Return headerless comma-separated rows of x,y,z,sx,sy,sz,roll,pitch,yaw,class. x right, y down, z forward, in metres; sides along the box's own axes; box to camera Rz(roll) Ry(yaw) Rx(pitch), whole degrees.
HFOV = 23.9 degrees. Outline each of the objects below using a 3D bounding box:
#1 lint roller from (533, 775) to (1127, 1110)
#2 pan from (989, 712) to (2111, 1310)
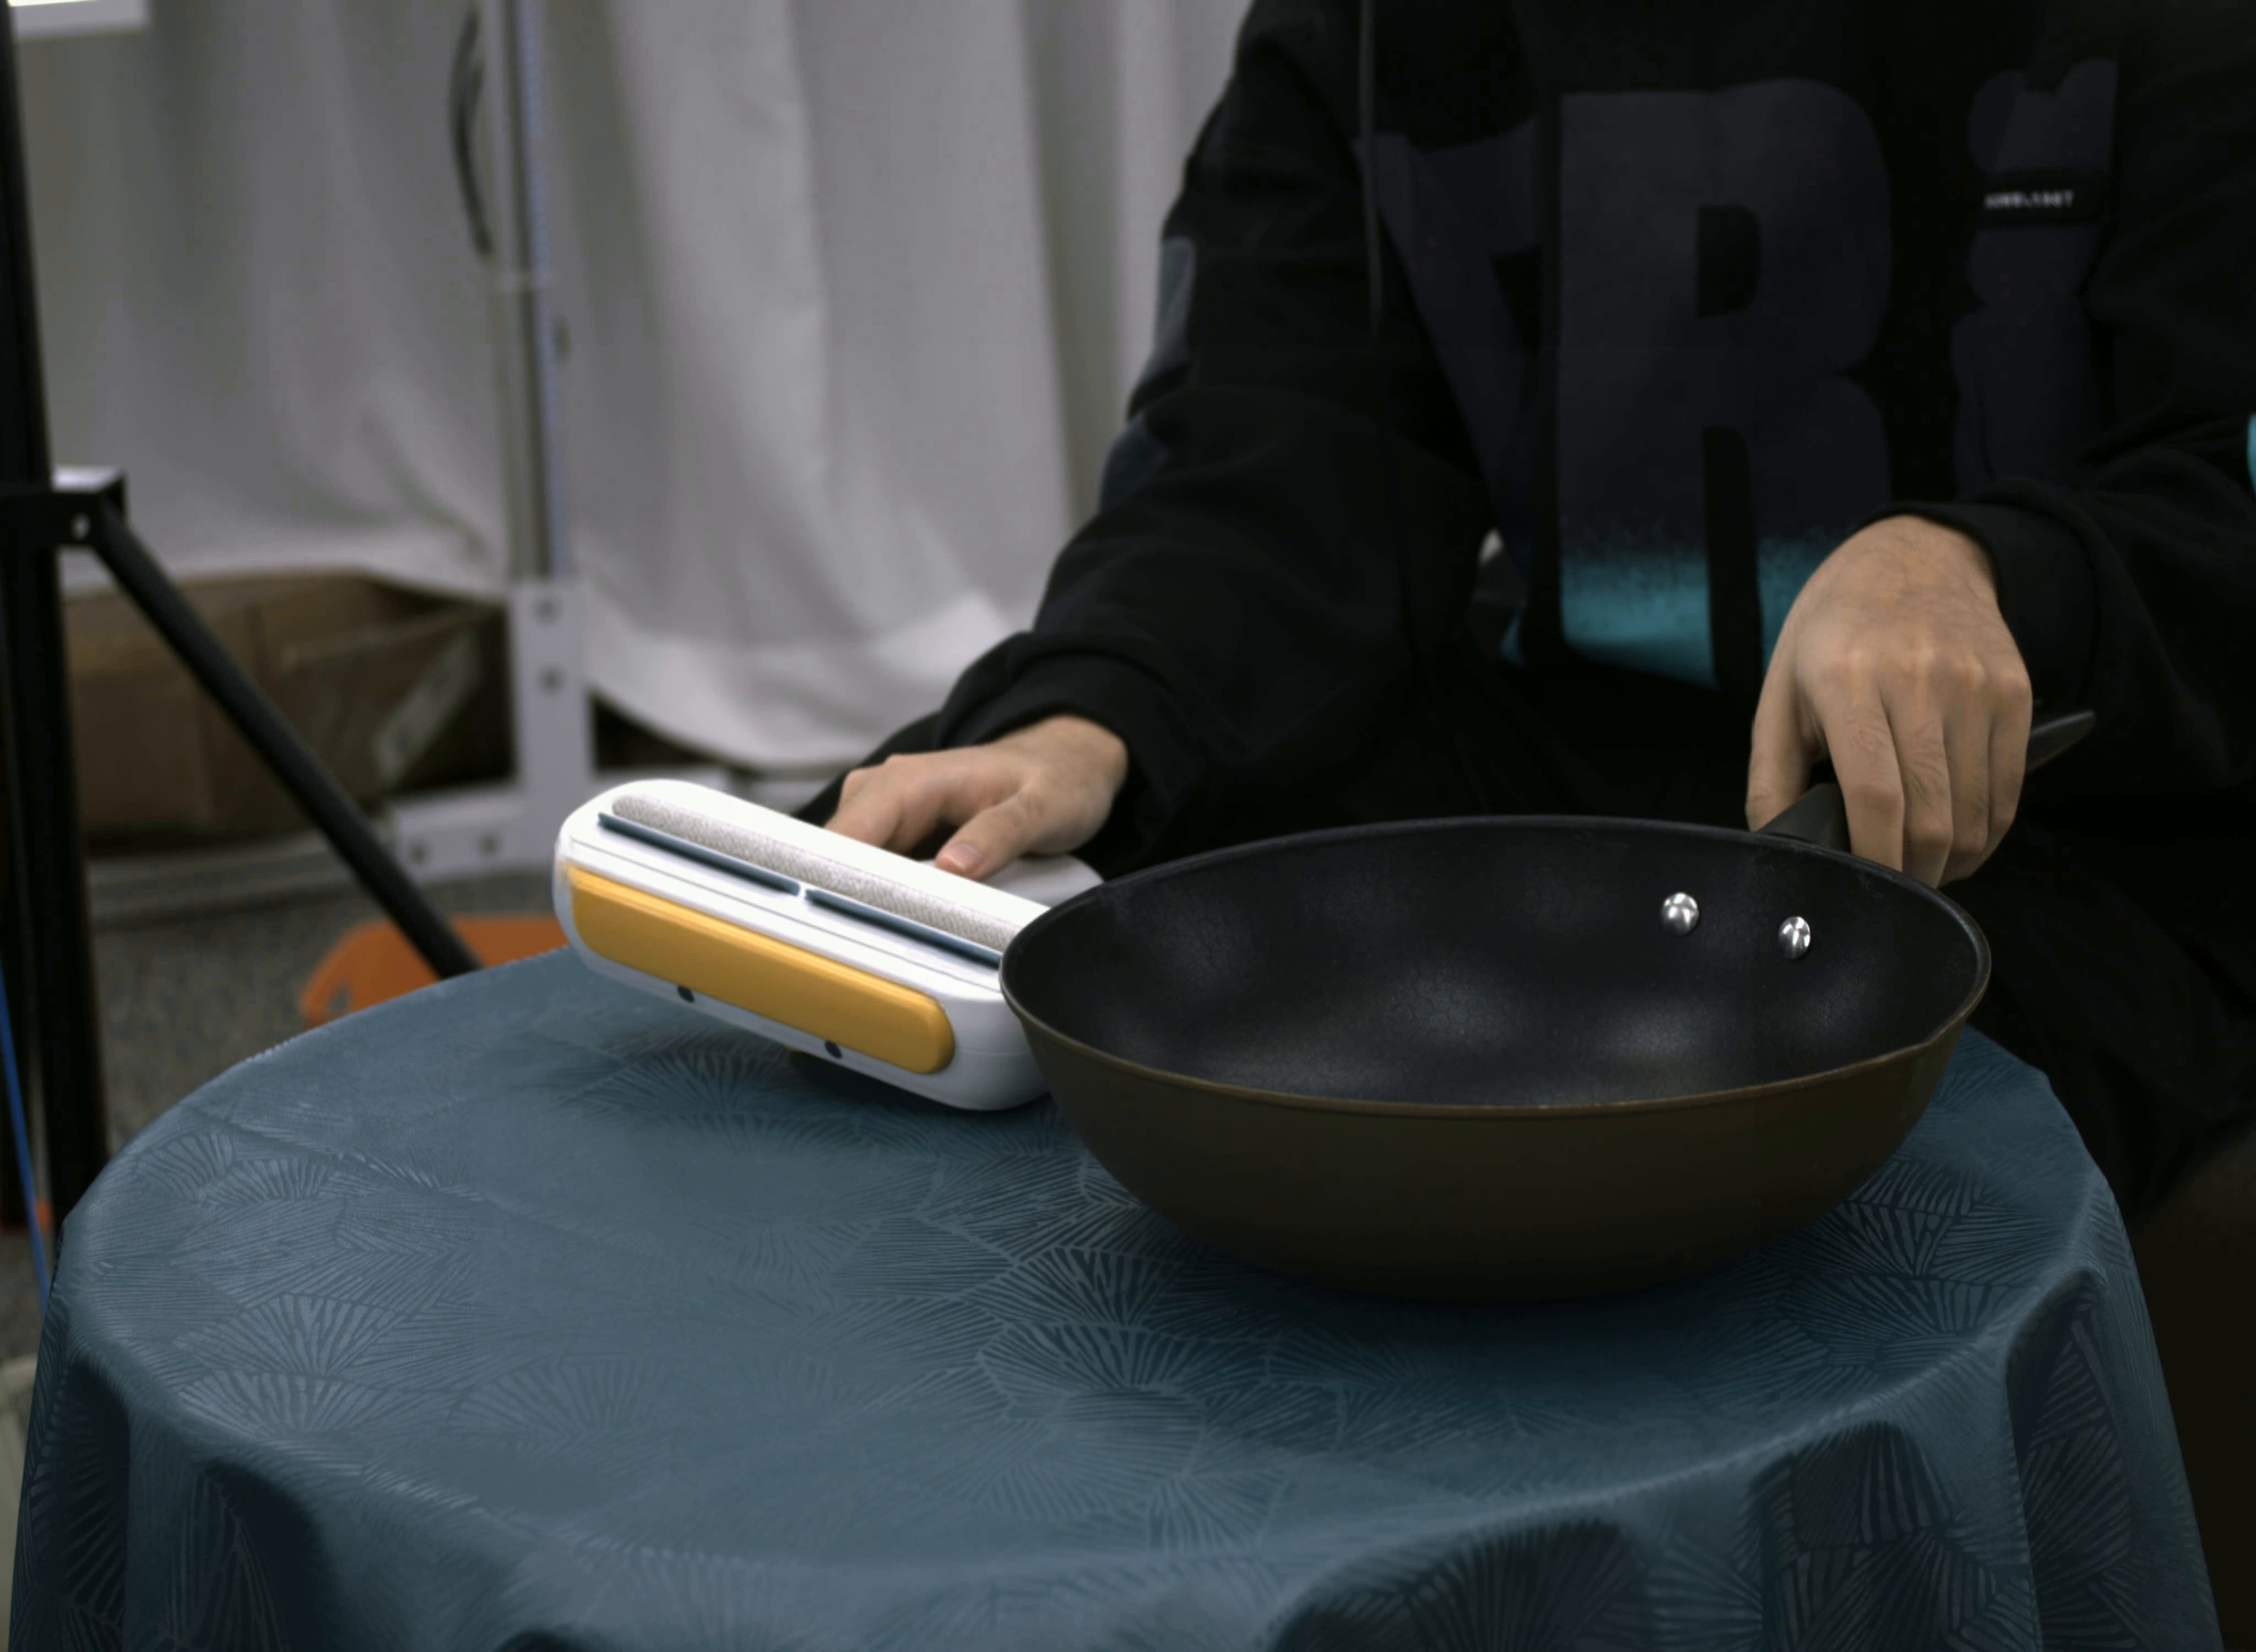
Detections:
-0.068,0.027,1.724,0.197,0.074,0.188,16,25,35,lint roller
0.160,0.052,1.575,0.294,0.087,0.453,10,20,40,pan
